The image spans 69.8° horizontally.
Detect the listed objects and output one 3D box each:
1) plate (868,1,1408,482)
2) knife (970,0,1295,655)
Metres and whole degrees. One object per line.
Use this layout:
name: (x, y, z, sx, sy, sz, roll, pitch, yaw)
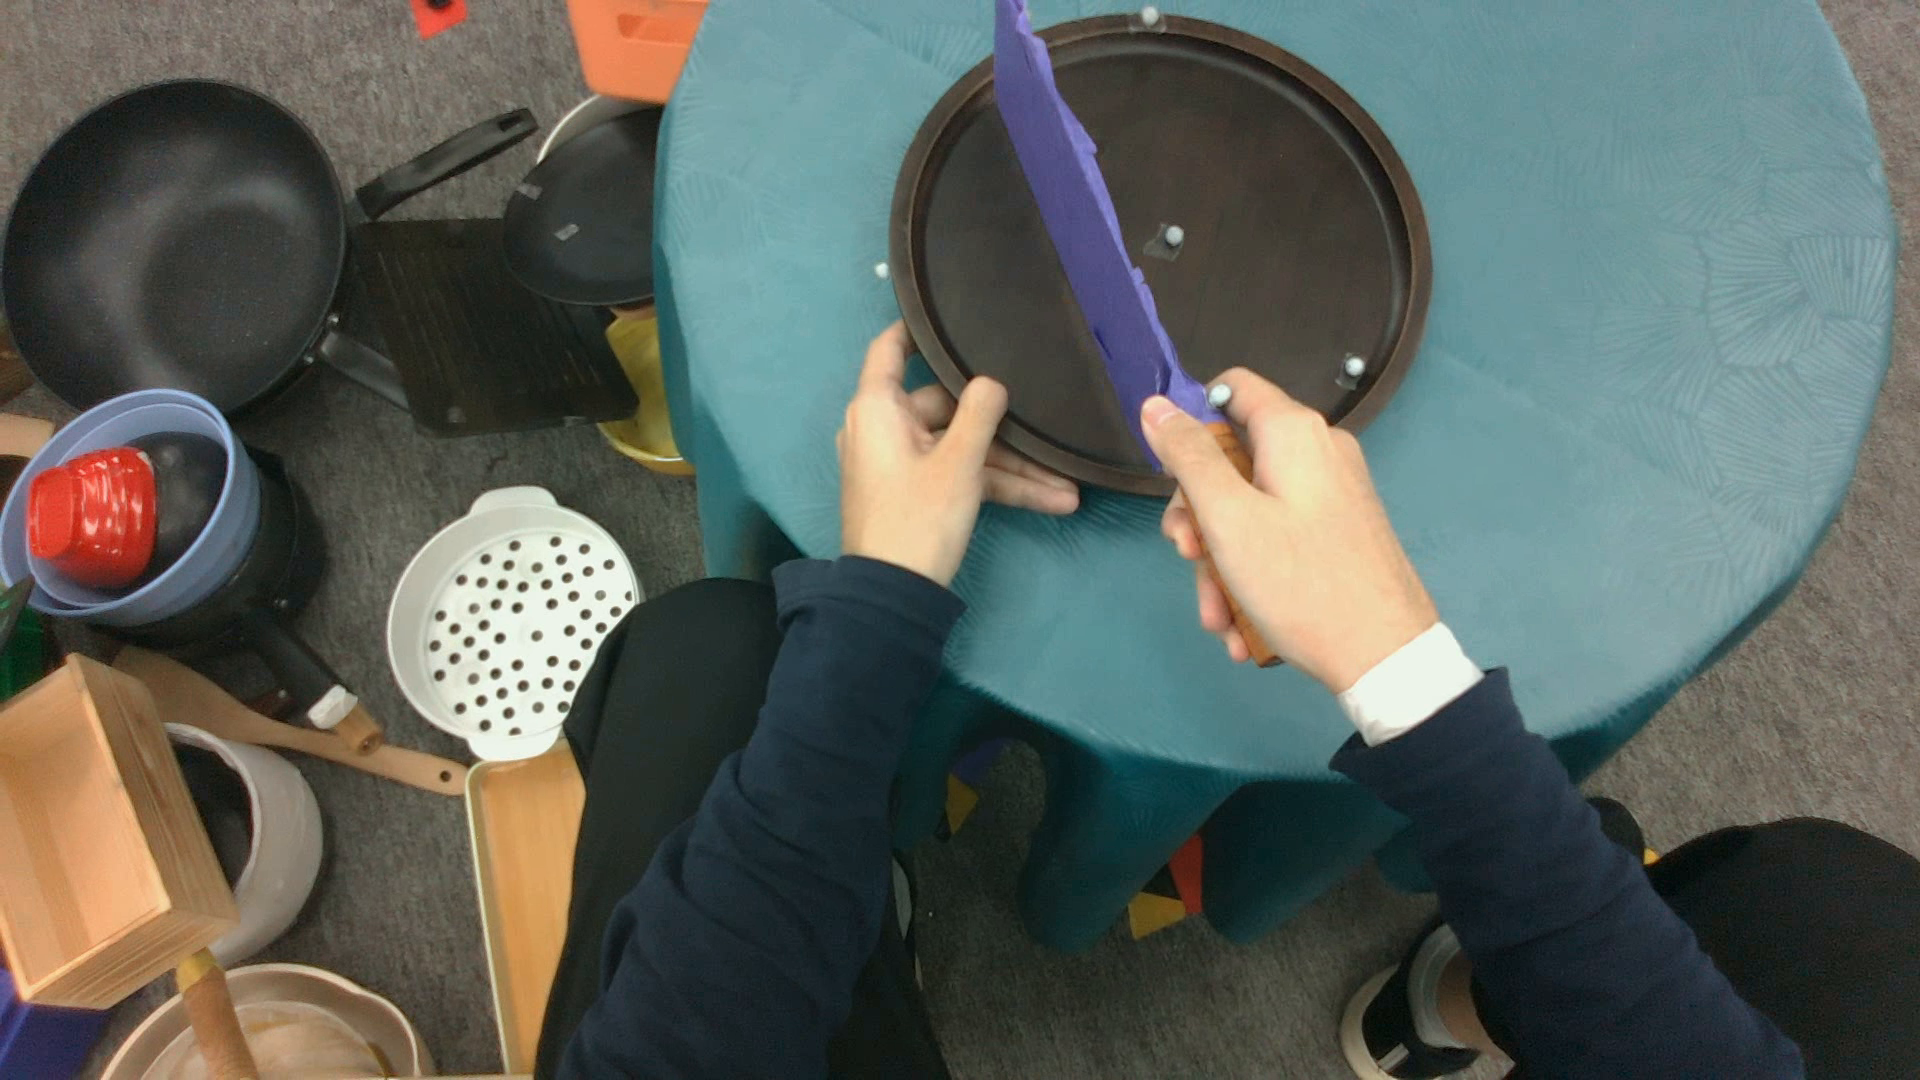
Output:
plate: (0.084, -0.143, 0.645, 0.255, 0.029, 0.255, 1, 69, -4)
knife: (0.061, -0.099, 0.565, 0.032, 0.103, 0.316, -17, 75, -3)
